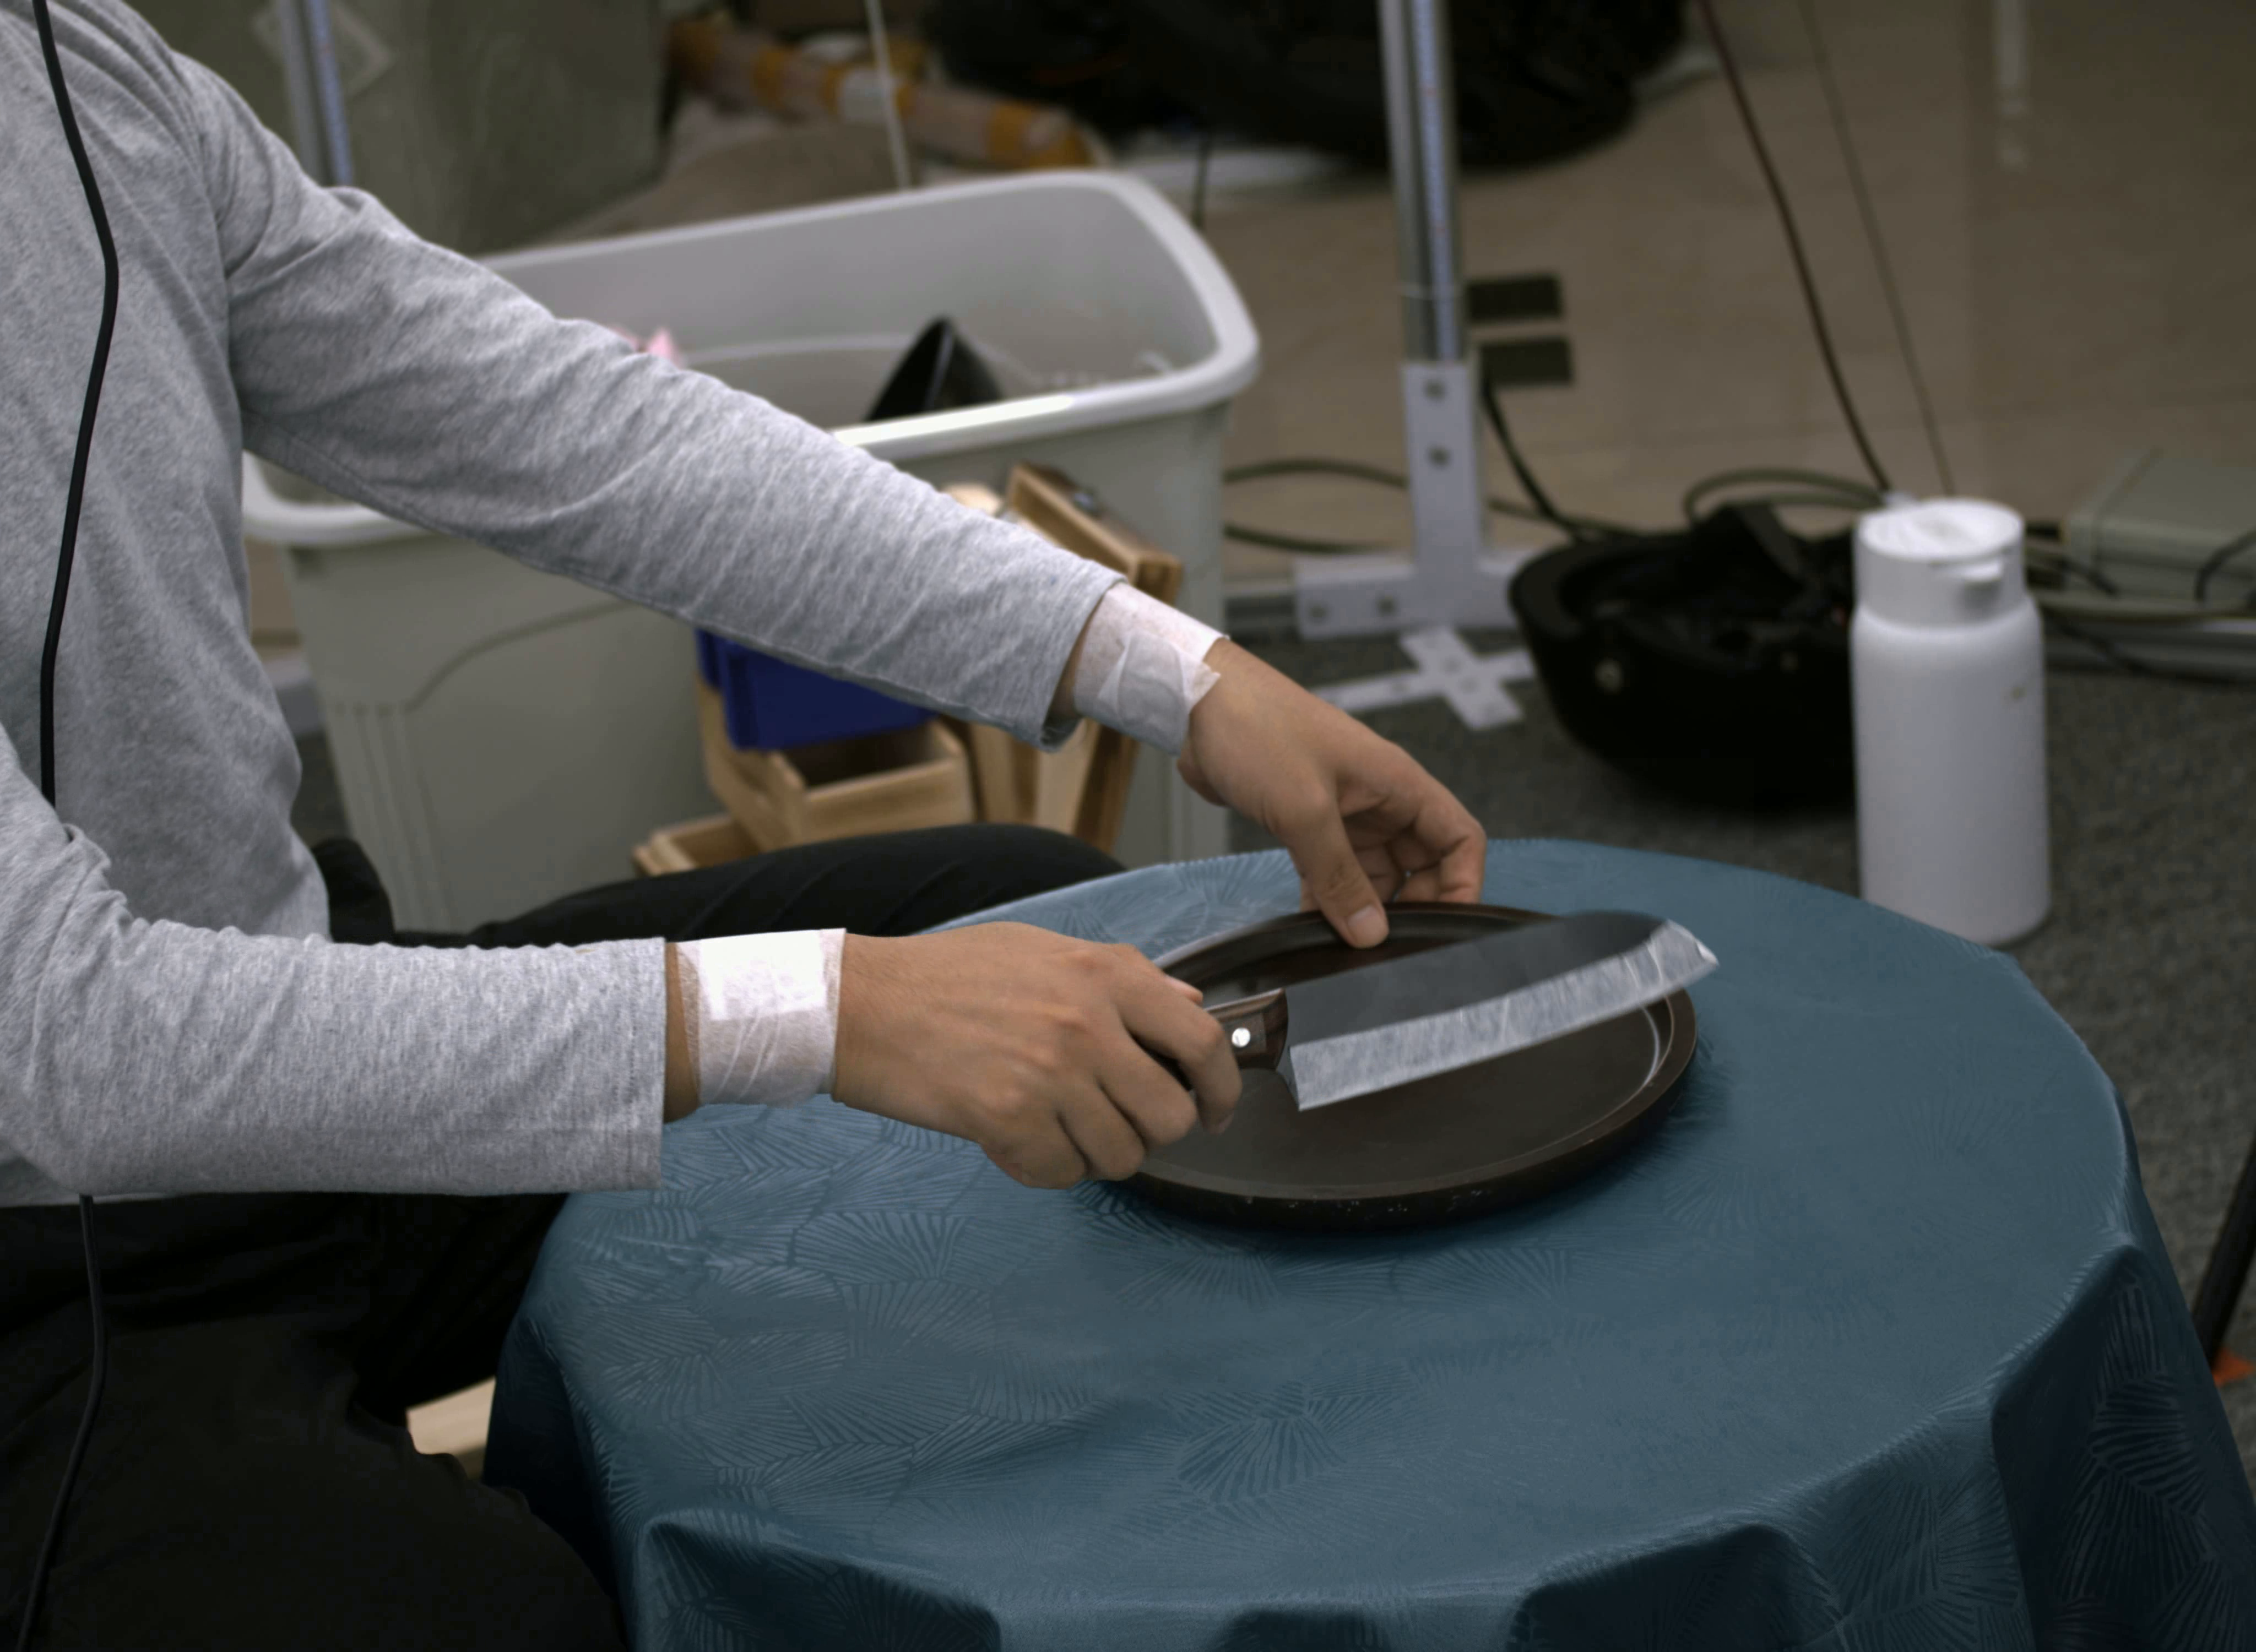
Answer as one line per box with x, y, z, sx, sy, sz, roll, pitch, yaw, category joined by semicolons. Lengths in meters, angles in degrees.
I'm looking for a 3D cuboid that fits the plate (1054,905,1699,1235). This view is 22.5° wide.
0.095;0.092;2.199;0.254;0.029;0.251;-7;26;3;plate

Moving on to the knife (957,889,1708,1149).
0.076;0.070;2.028;0.288;0.050;0.020;-13;11;-16;knife
